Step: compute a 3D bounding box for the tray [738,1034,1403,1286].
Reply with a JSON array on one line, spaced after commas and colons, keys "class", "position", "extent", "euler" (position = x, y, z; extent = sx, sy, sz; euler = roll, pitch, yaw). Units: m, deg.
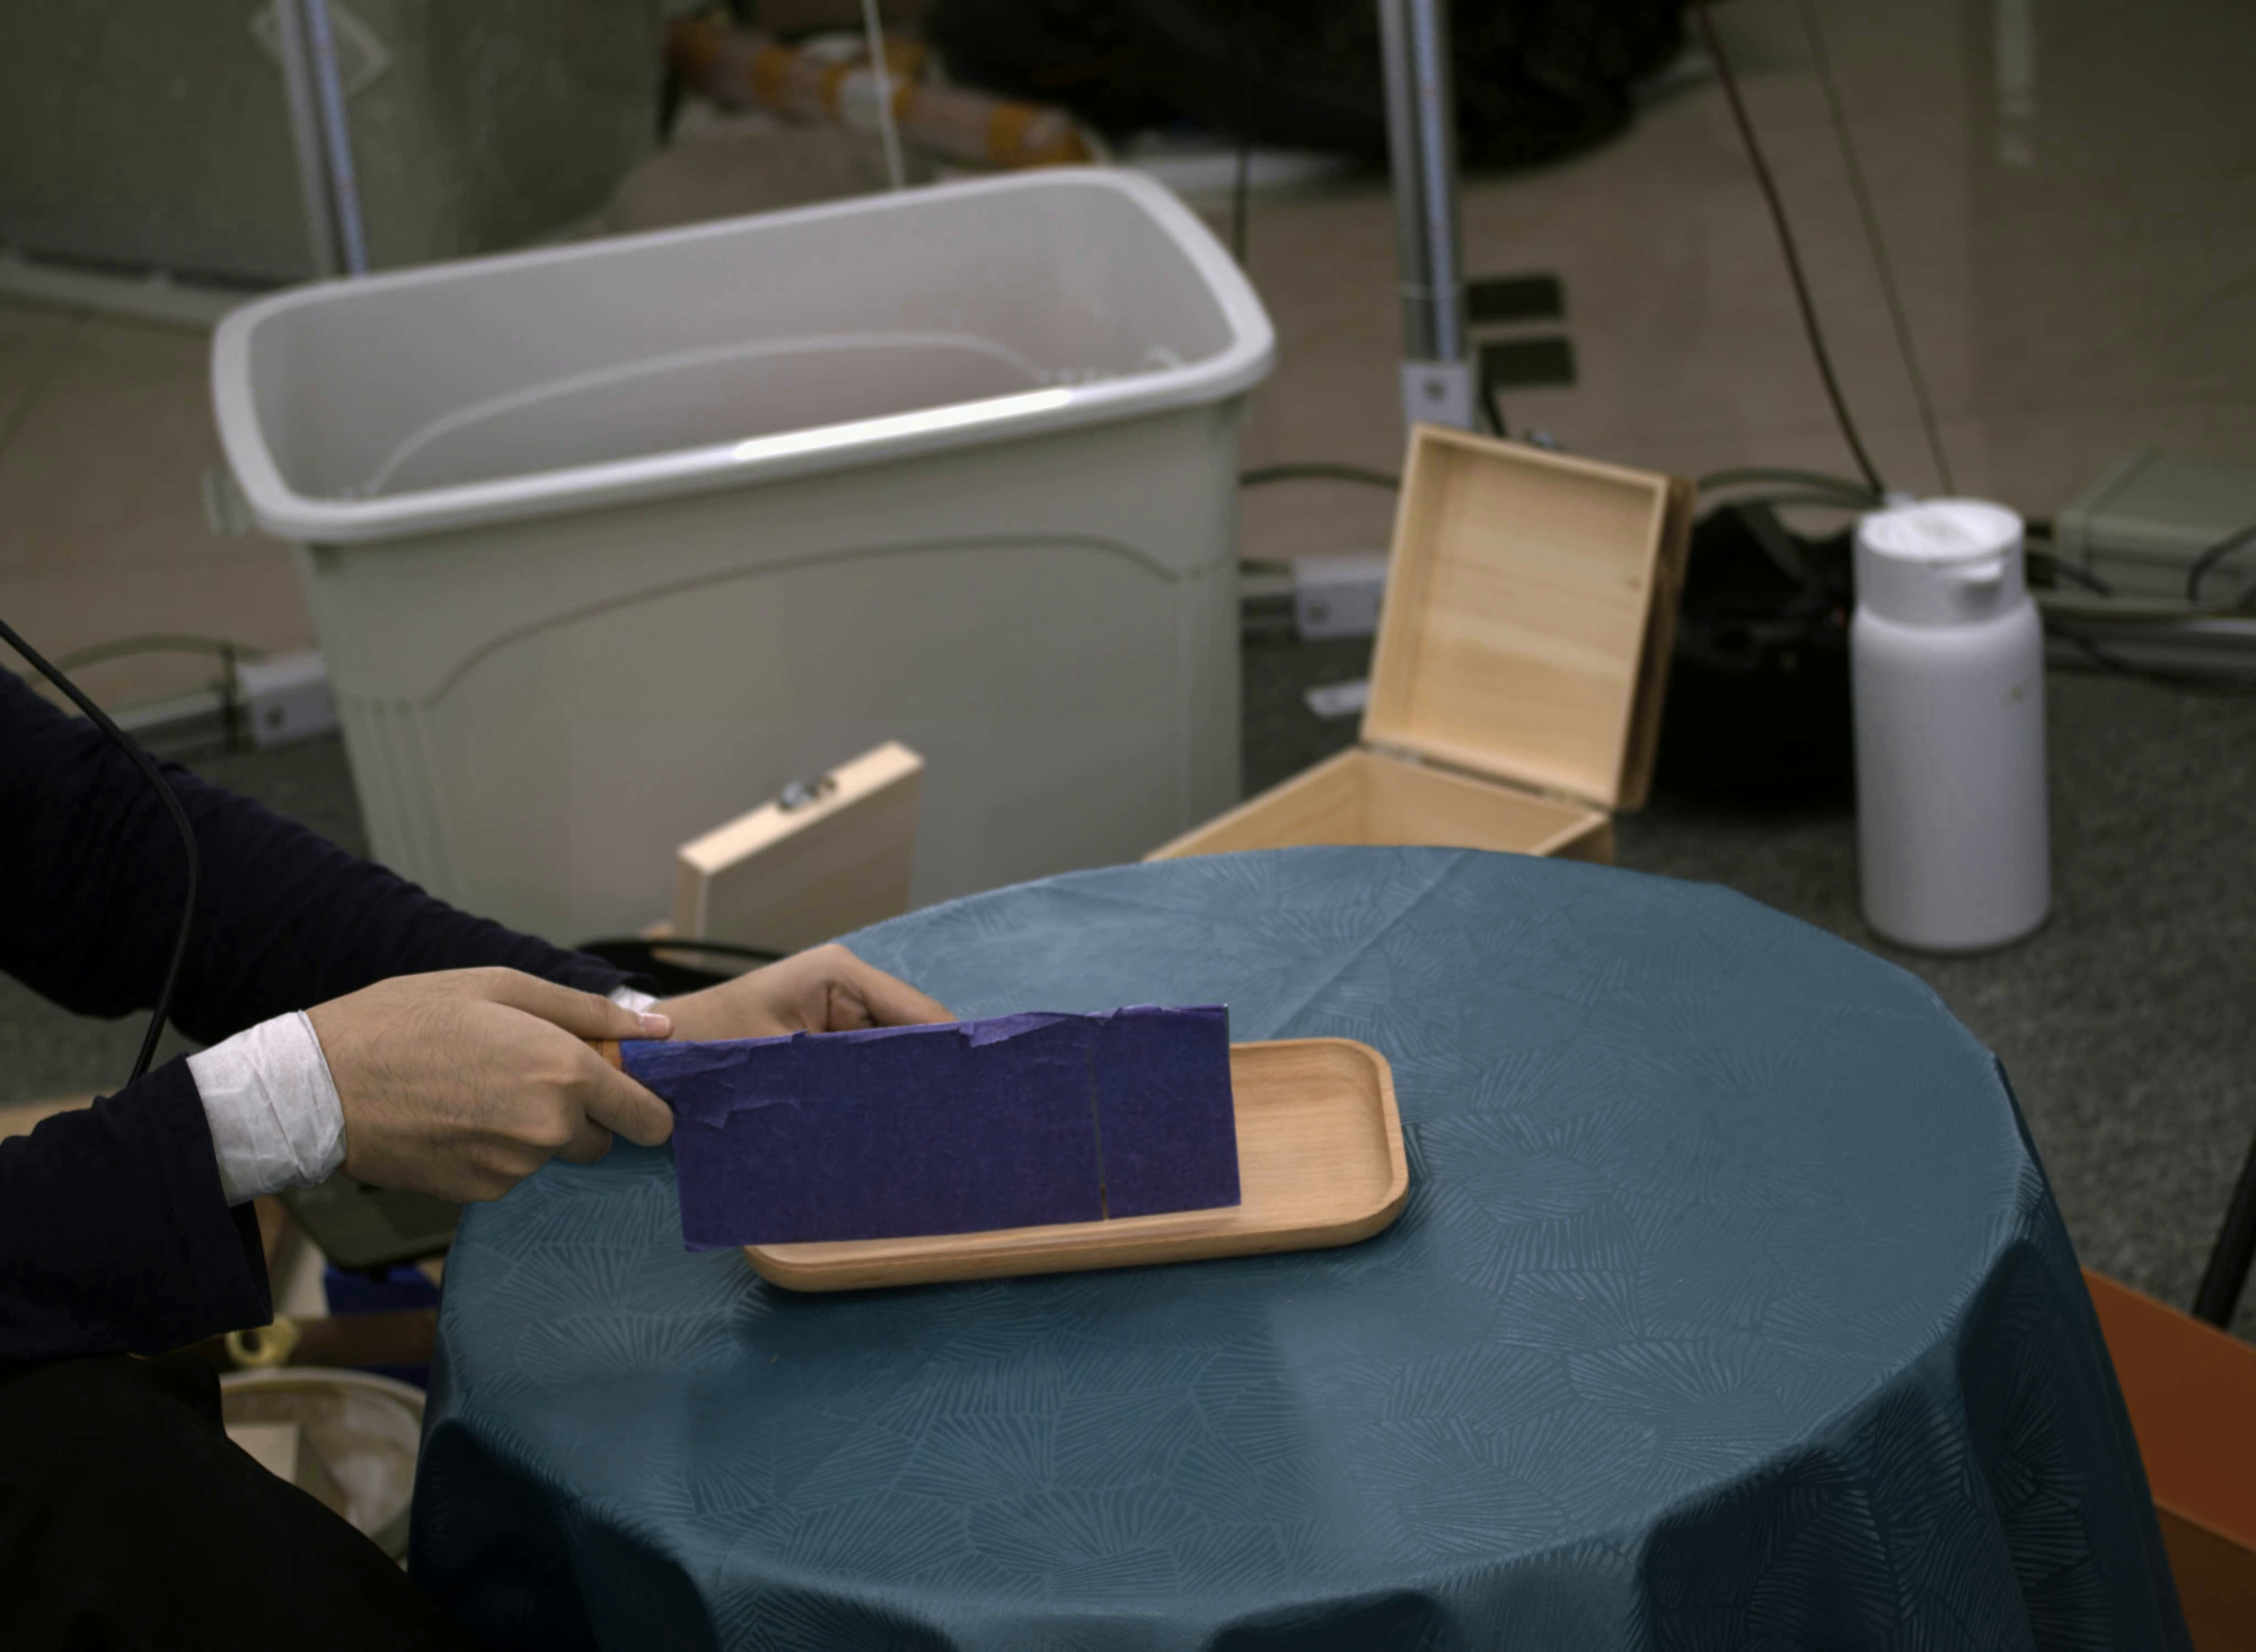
[{"class": "tray", "position": [-0.022, 0.127, 2.142], "extent": [0.250, 0.023, 0.128], "euler": [-4, 30, 3]}]

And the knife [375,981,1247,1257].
[{"class": "knife", "position": [-0.114, 0.114, 2.071], "extent": [0.315, 0.105, 0.031], "euler": [-4, 29, 0]}]
